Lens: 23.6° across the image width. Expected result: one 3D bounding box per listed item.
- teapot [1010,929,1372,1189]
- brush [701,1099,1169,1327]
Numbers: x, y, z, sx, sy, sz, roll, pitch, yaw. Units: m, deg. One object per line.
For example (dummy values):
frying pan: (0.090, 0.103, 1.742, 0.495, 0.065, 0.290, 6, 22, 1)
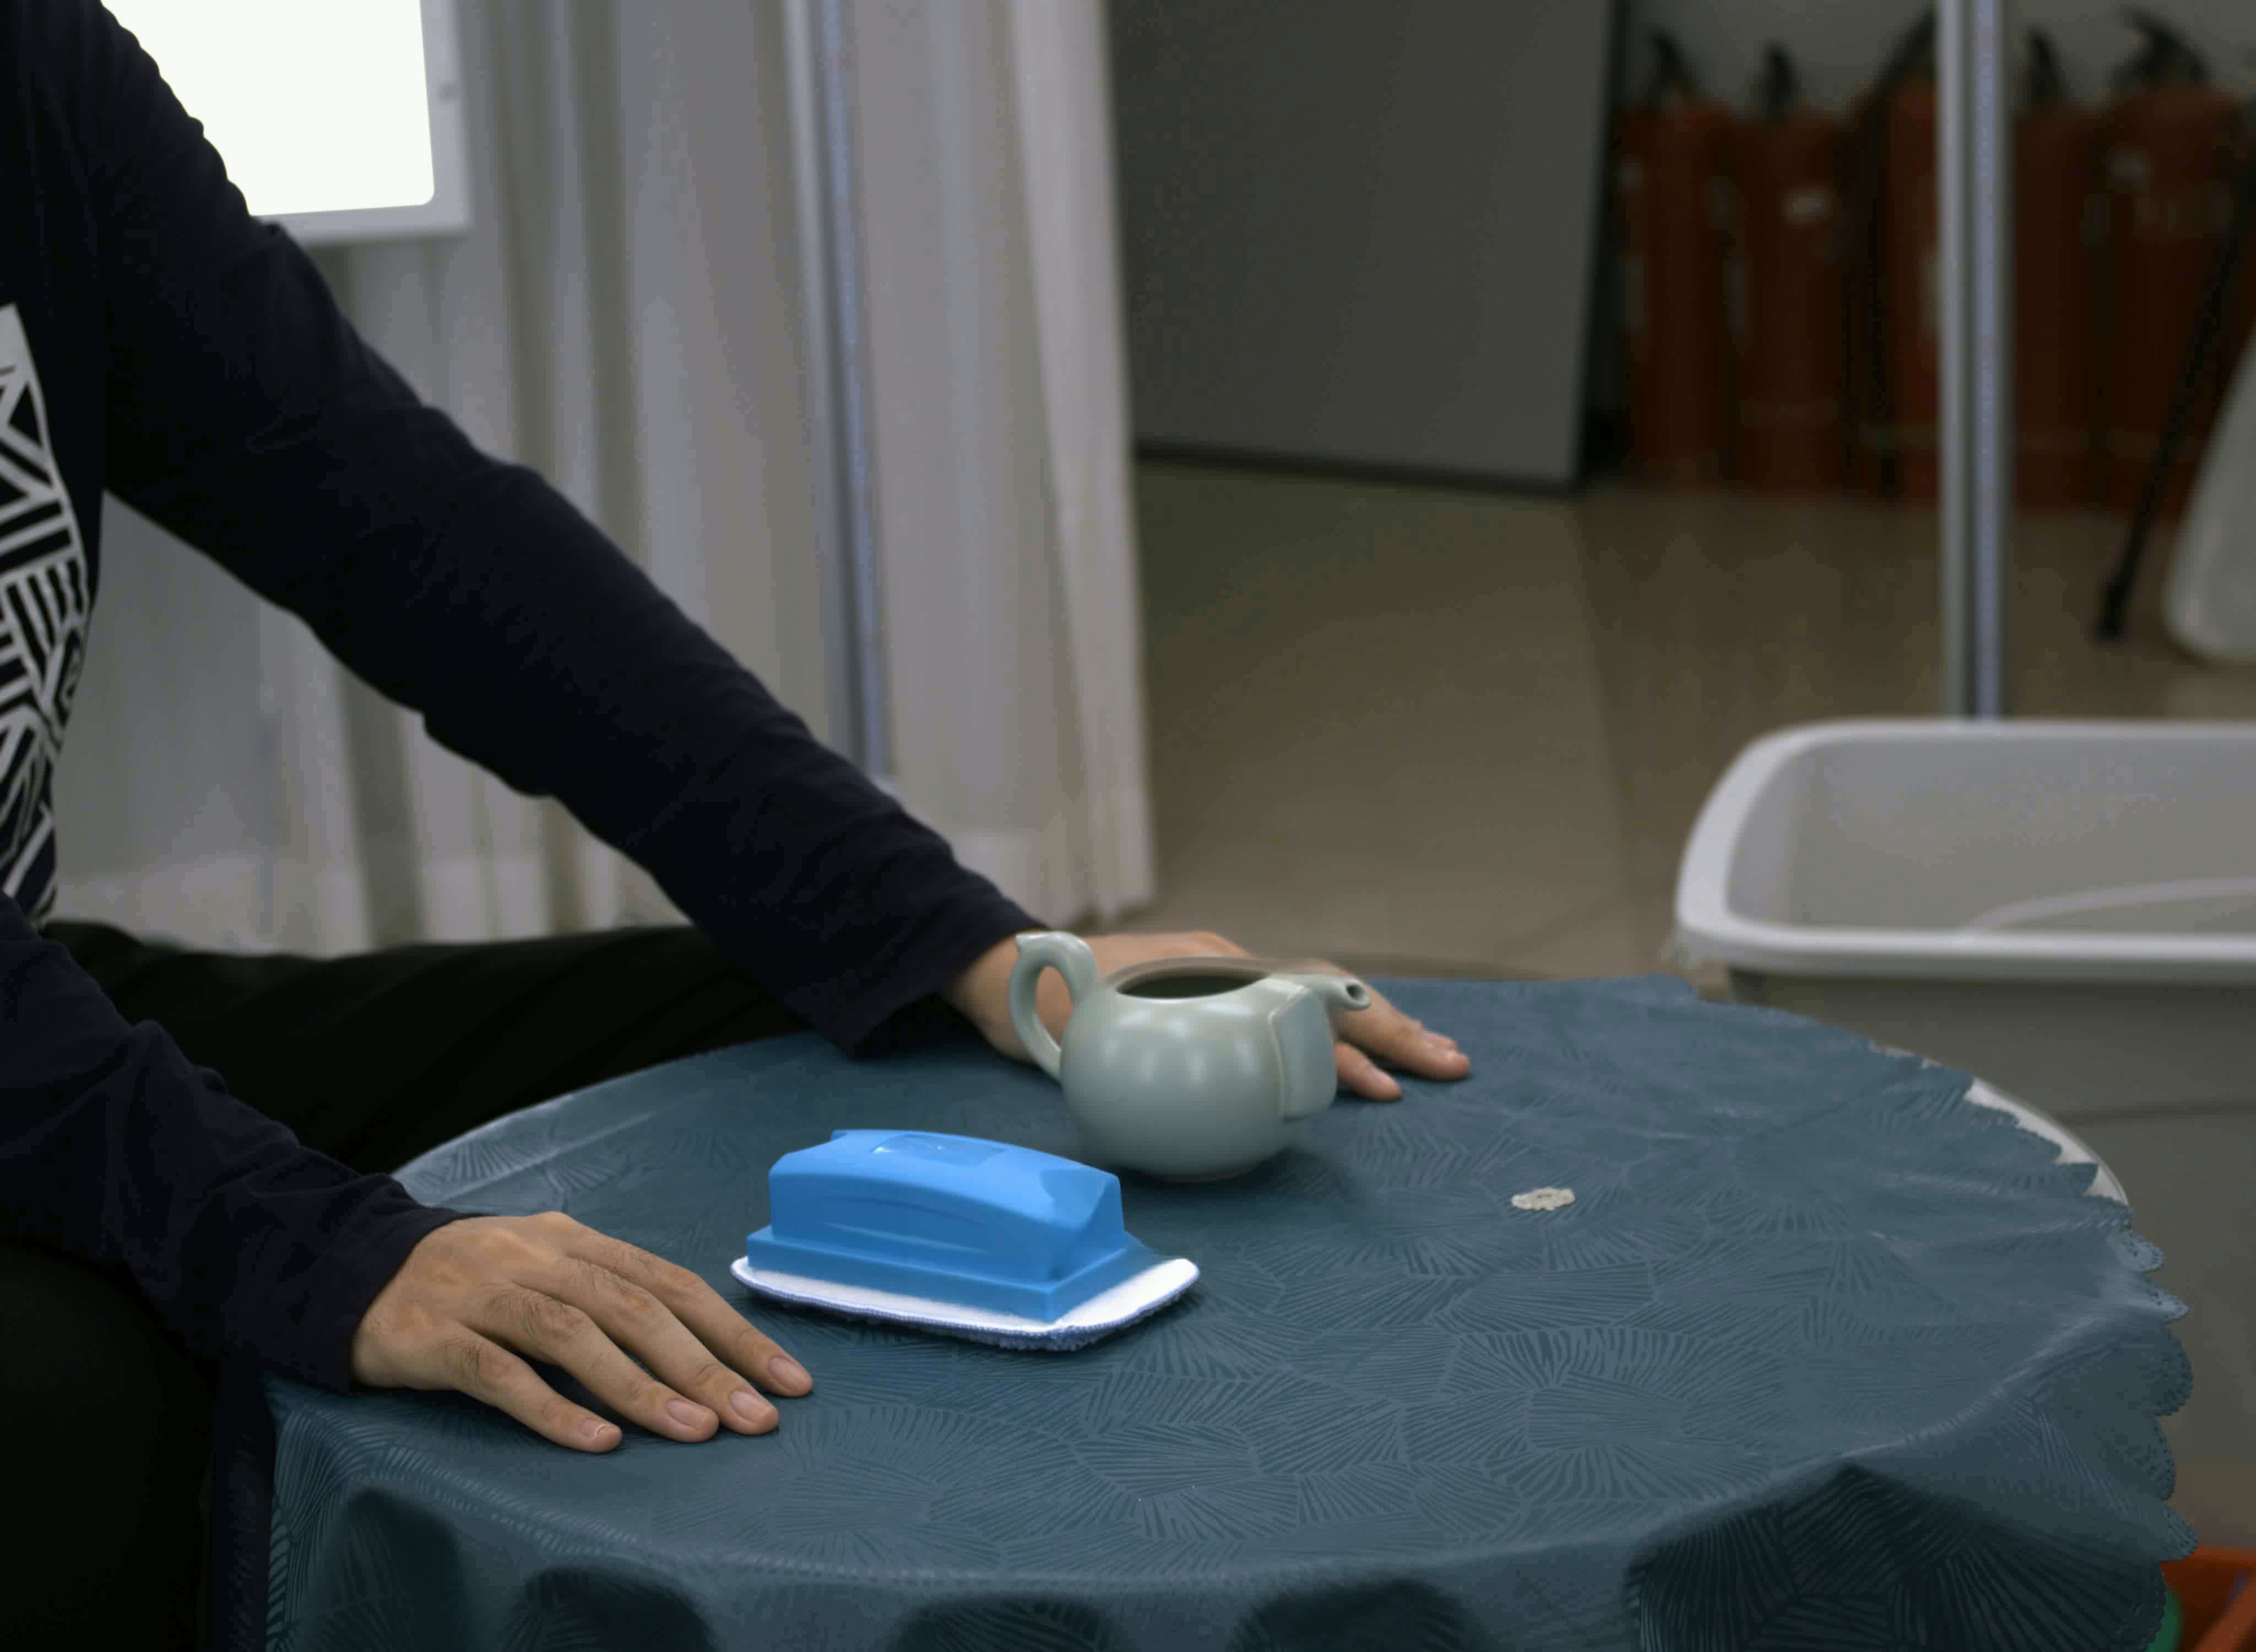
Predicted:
teapot: (0.021, 0.079, 1.789, 0.145, 0.075, 0.087, 10, 19, 37)
brush: (-0.060, 0.119, 1.675, 0.145, 0.056, 0.082, 10, 16, 37)
